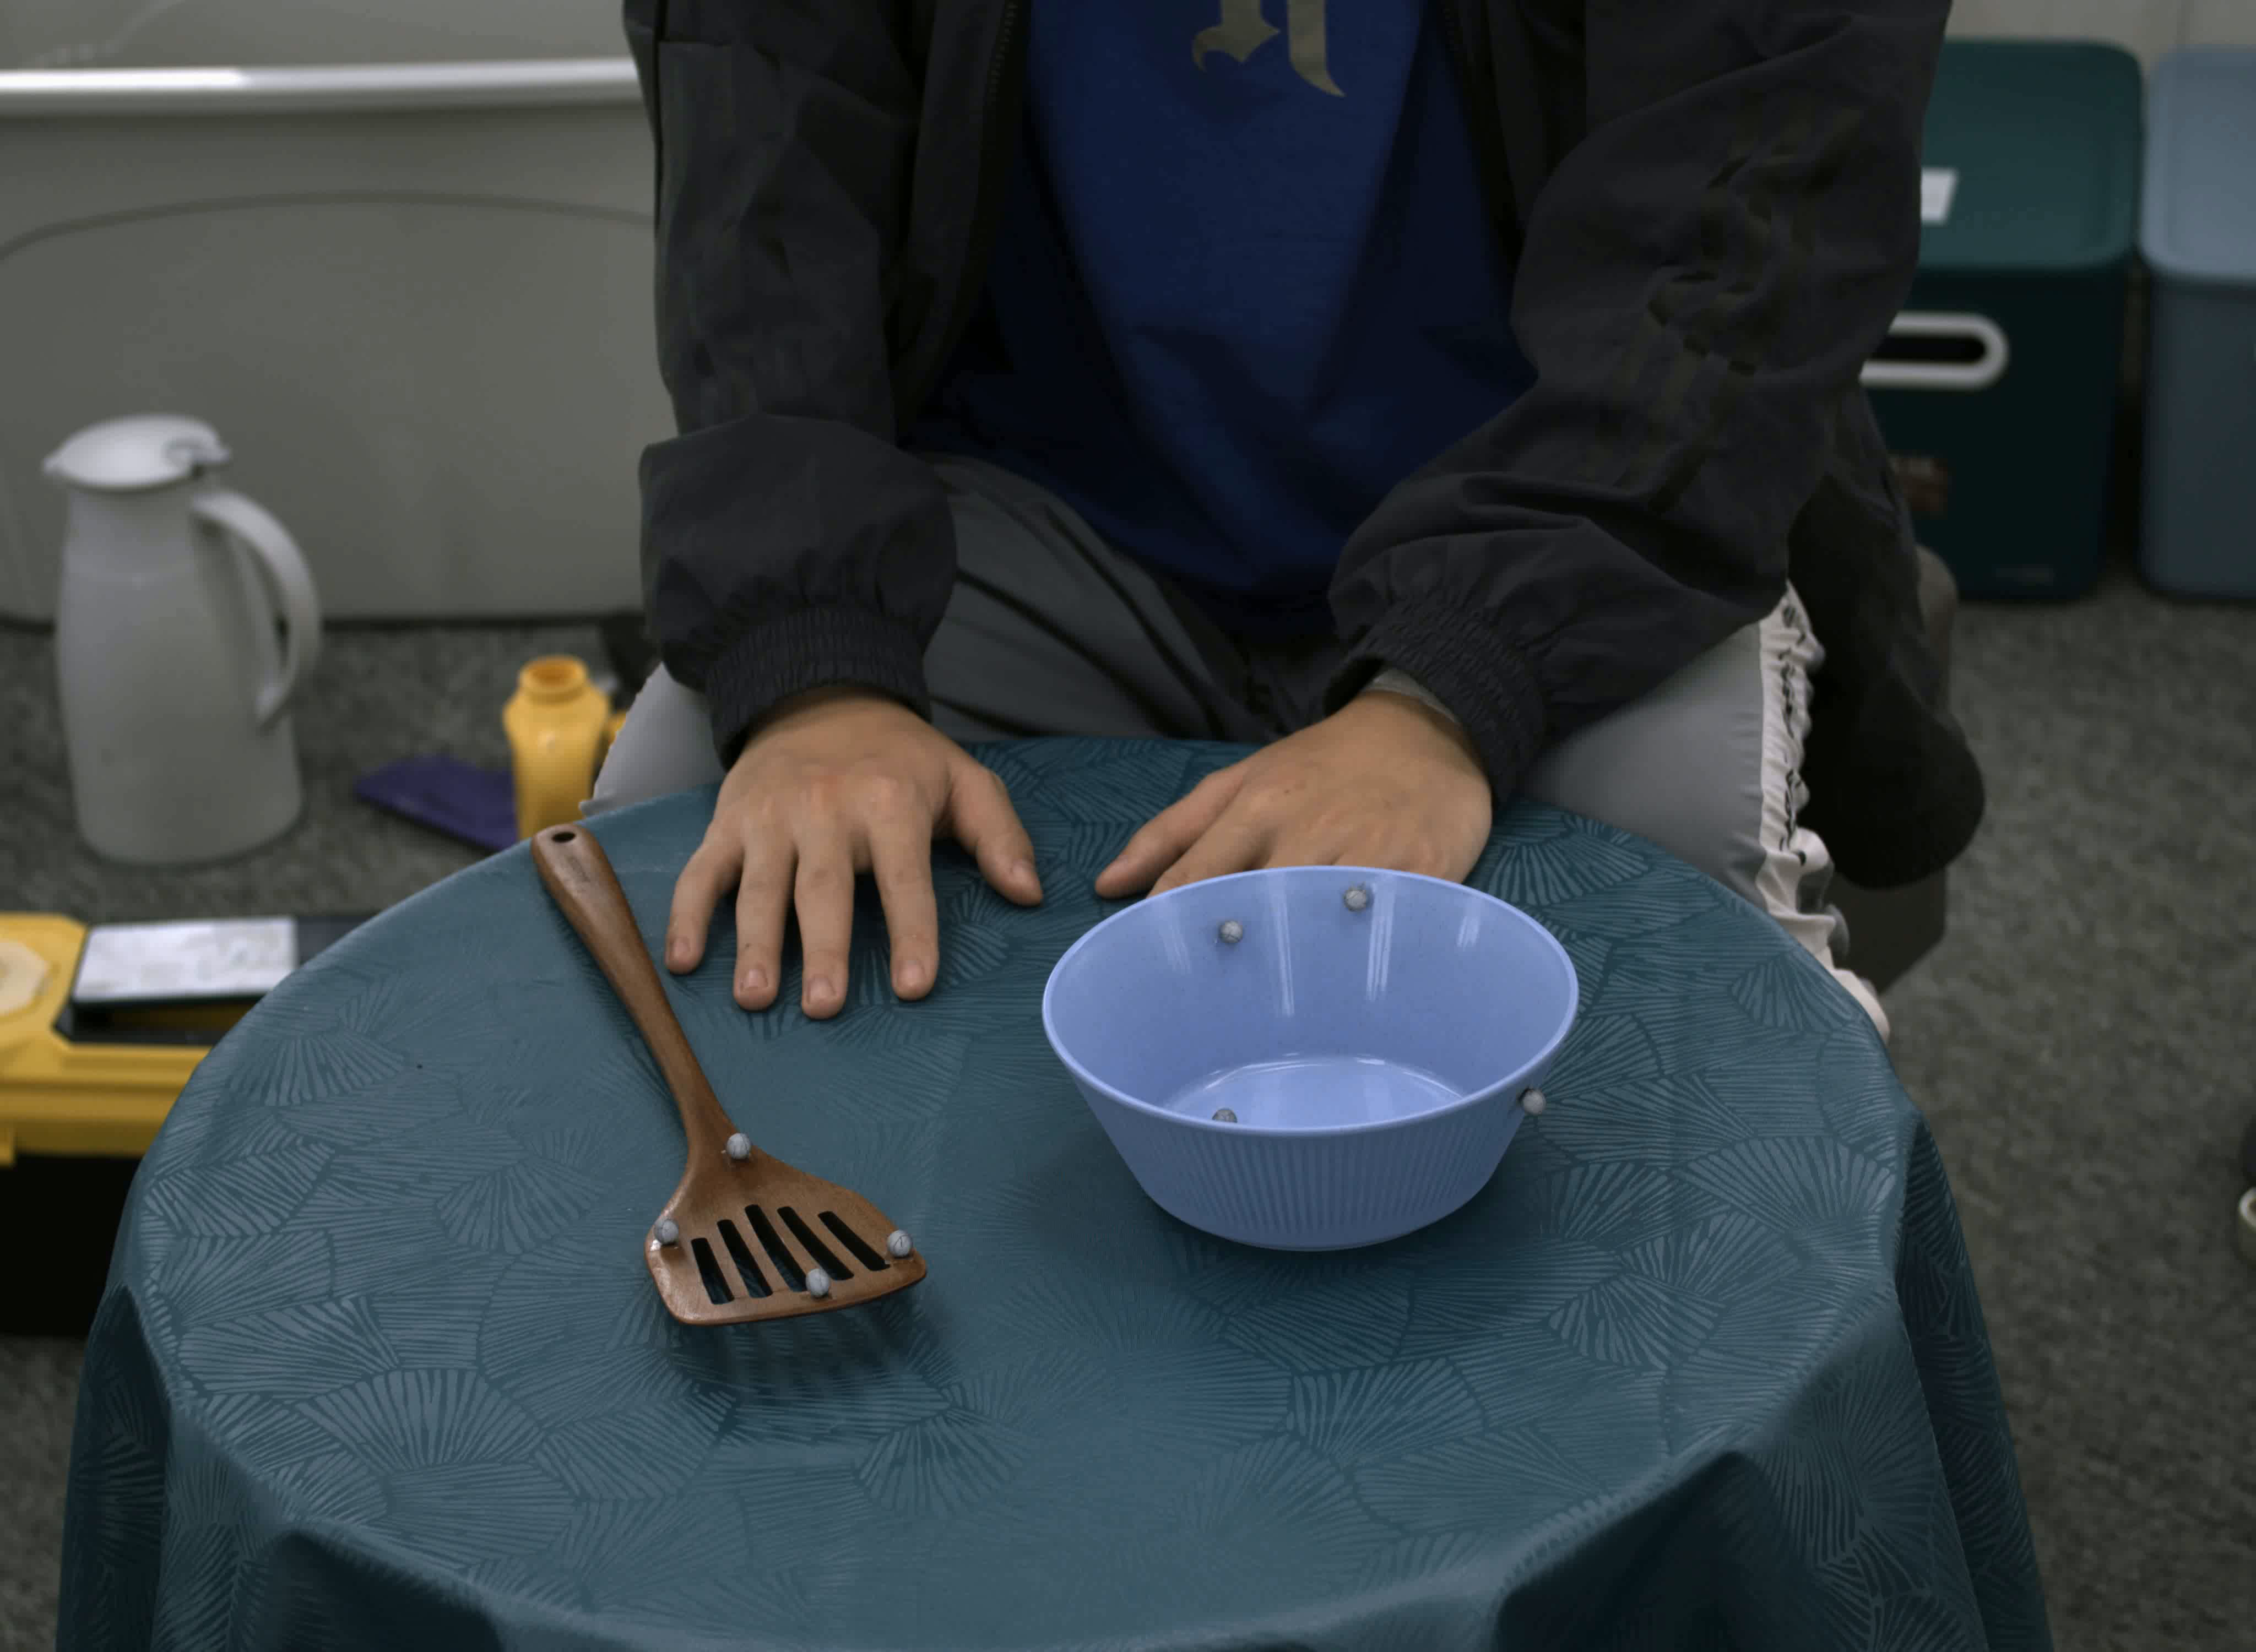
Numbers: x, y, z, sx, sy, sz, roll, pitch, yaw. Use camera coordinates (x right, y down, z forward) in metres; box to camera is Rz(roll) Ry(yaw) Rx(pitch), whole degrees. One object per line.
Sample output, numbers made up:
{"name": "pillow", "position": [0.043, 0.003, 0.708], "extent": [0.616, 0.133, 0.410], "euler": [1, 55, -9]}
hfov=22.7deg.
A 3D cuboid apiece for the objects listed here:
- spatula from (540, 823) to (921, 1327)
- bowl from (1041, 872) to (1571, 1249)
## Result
{"name": "spatula", "position": [-0.155, 0.083, 1.930], "extent": [0.085, 0.024, 0.390], "euler": [-9, 27, -14]}
{"name": "bowl", "position": [0.059, 0.083, 1.853], "extent": [0.175, 0.069, 0.178], "euler": [-2, 26, 1]}
